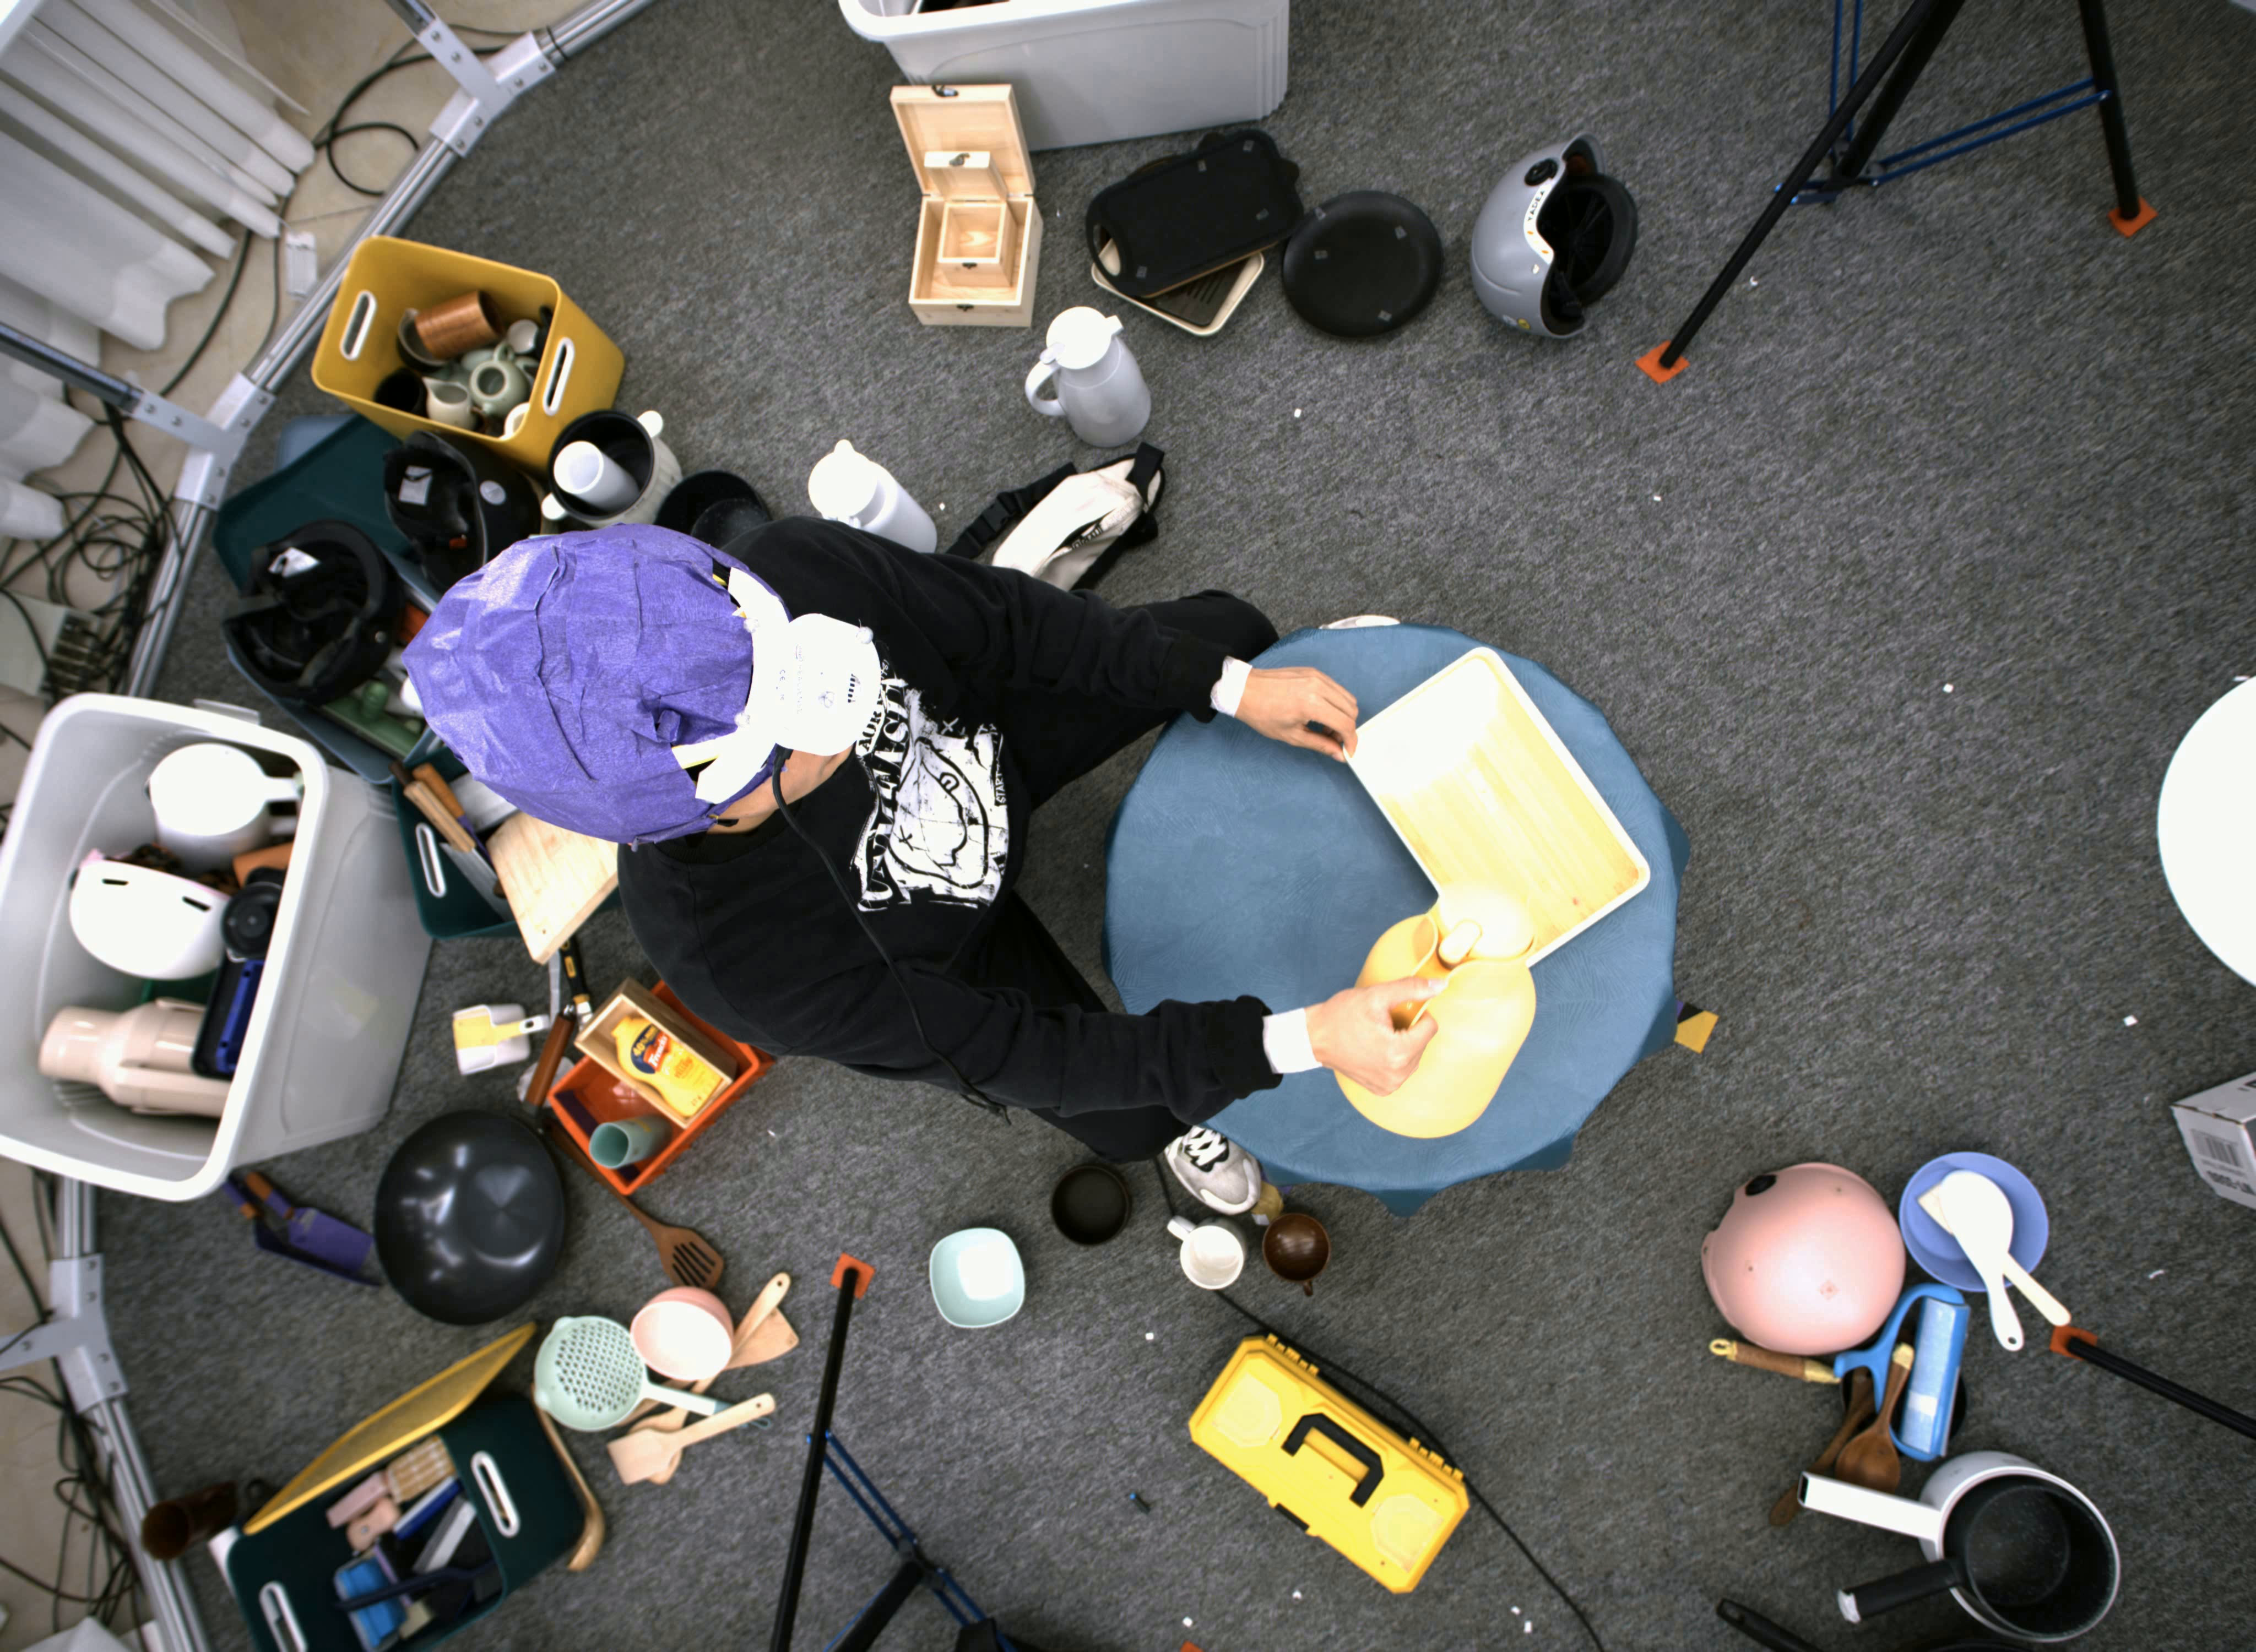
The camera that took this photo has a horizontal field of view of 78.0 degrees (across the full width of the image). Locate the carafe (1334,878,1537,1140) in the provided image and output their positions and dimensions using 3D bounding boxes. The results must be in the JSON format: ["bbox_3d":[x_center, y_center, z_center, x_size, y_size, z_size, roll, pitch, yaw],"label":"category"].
[{"bbox_3d":[0.279,0.171,1.272,0.162,0.267,0.199,38,51,27],"label":"carafe"}]

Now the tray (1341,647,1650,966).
[{"bbox_3d":[0.376,-0.017,1.415,0.192,0.027,0.299,-34,86,4],"label":"tray"}]
